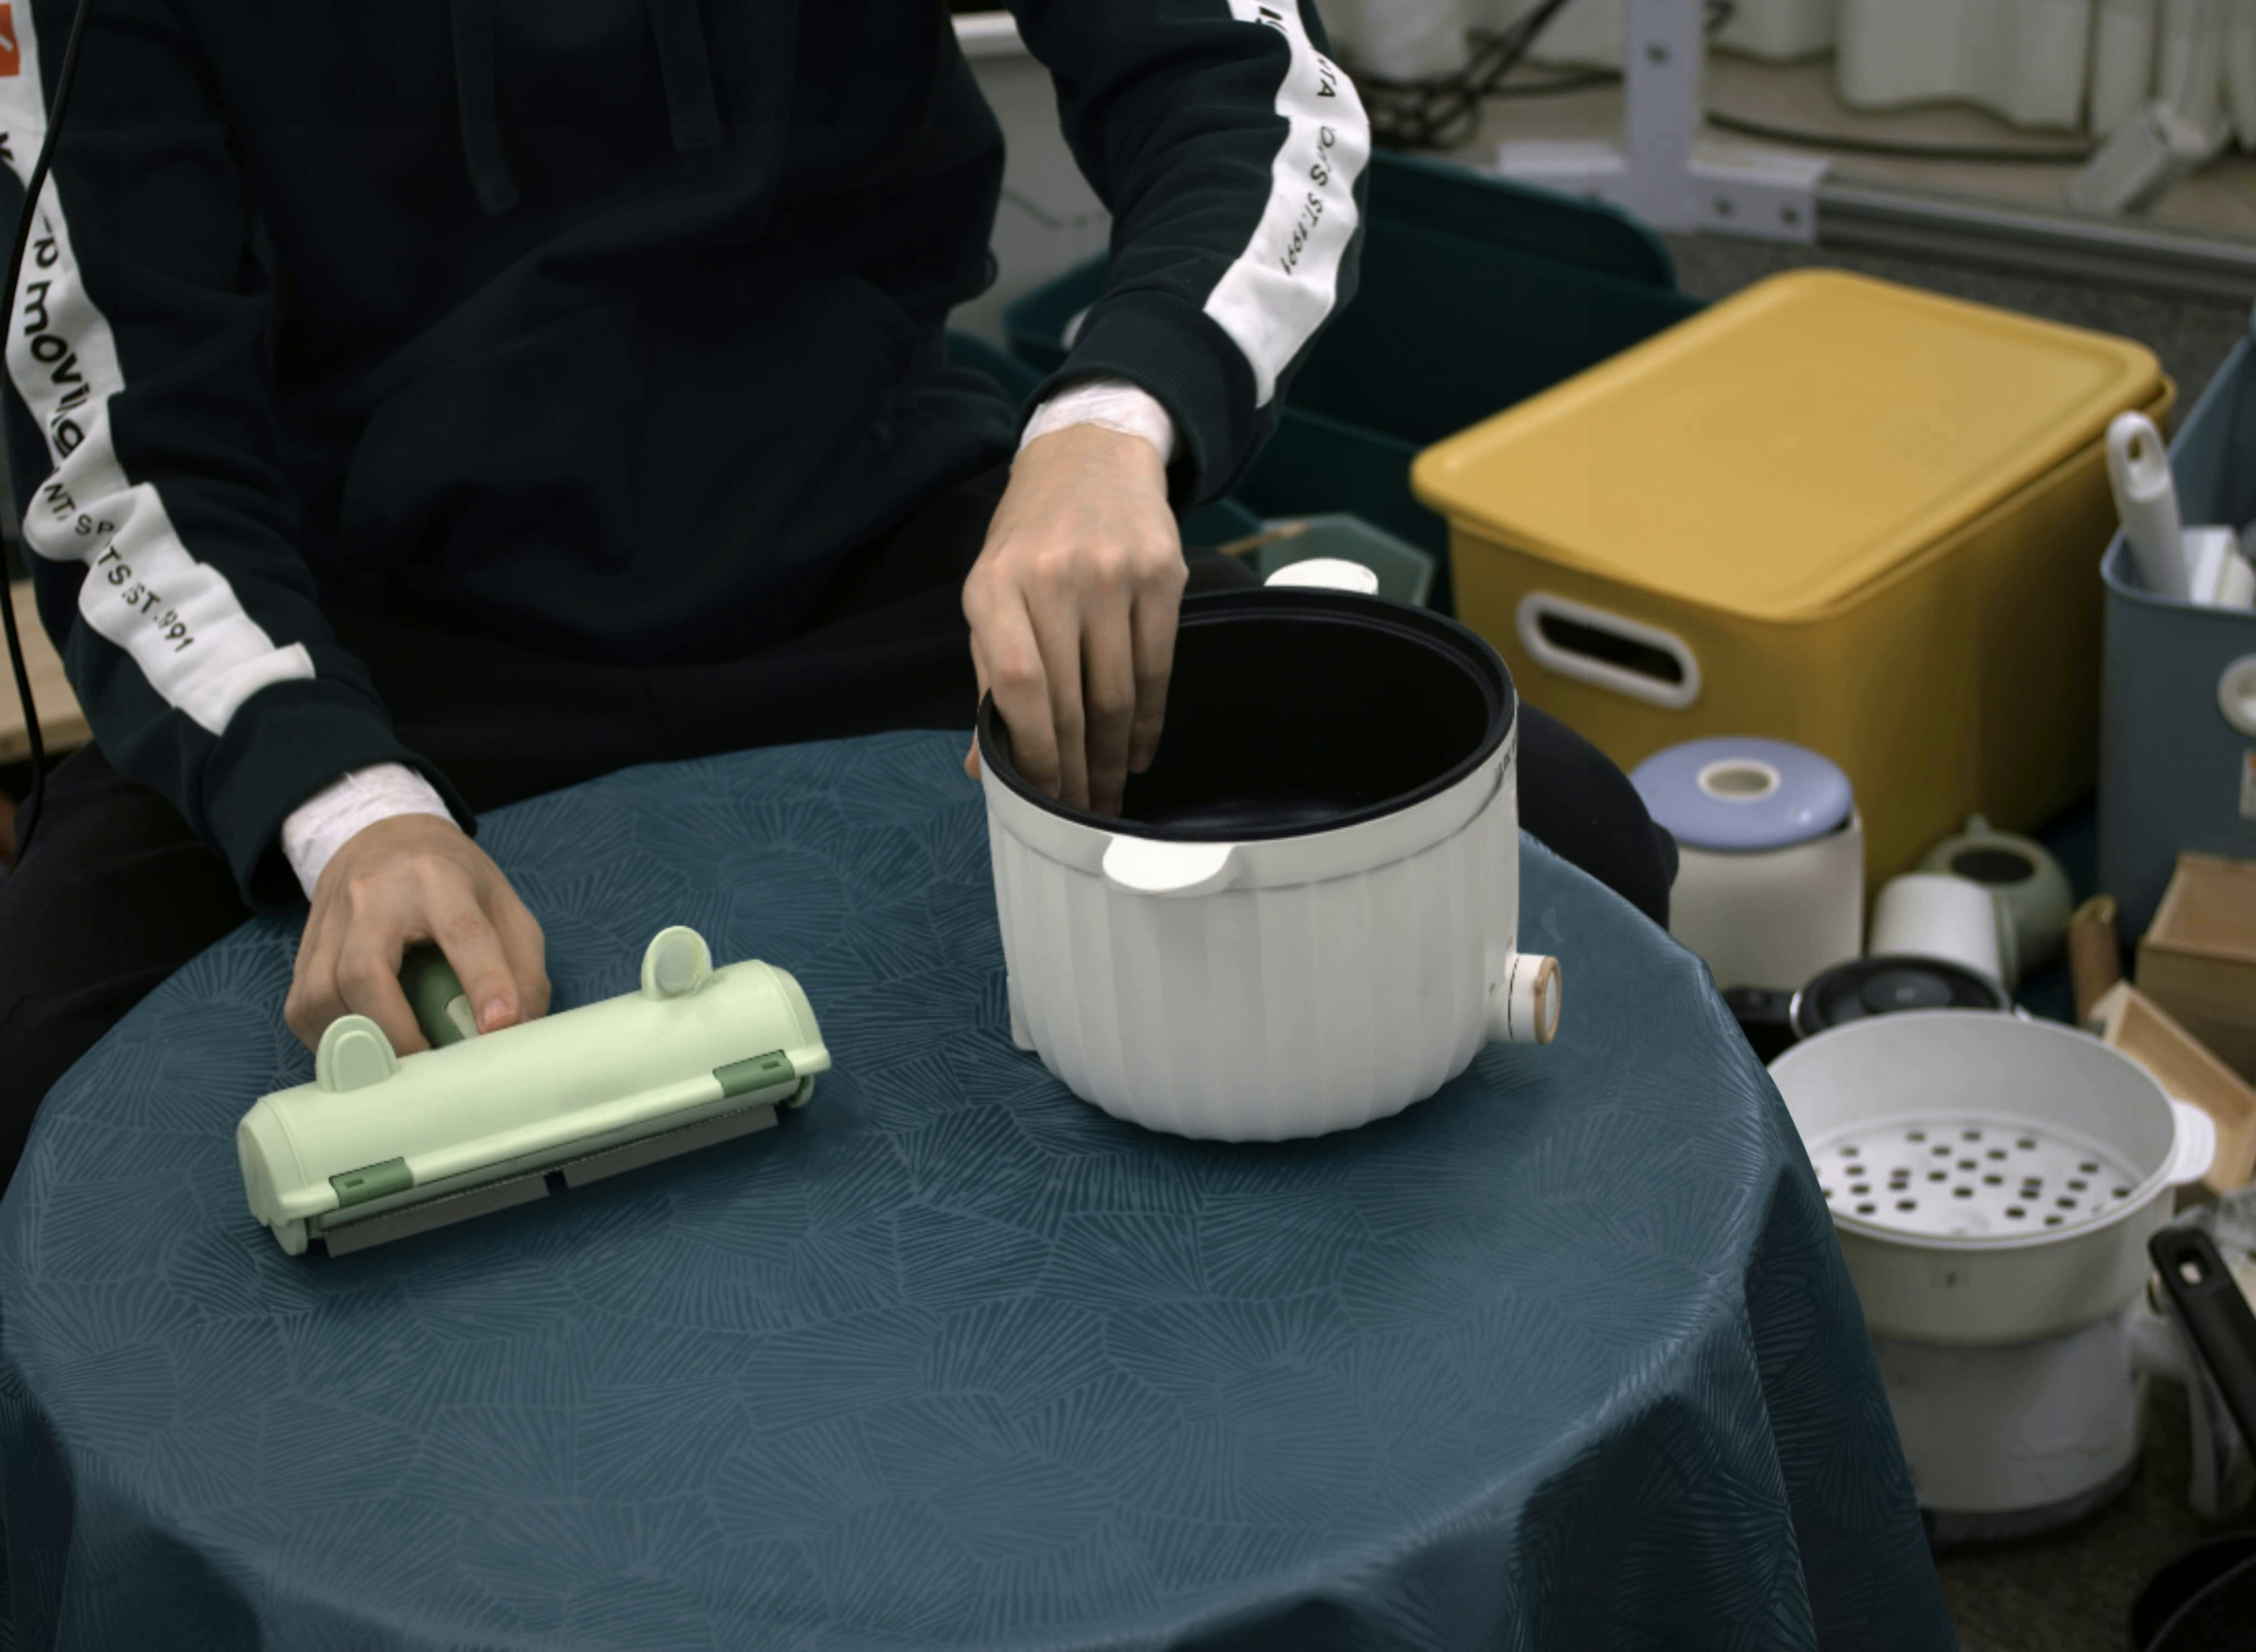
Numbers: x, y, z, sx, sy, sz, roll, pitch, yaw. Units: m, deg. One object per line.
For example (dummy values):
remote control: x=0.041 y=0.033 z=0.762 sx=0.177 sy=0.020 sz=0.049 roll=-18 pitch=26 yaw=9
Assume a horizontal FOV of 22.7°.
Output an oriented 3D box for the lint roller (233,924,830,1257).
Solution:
lint roller: x=-0.223 y=0.062 z=1.916 sx=0.199 sy=0.081 sz=0.185 roll=-15 pitch=35 yaw=-22

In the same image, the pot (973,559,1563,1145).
pot: x=0.049 y=0.017 z=1.906 sx=0.189 sy=0.141 sz=0.245 roll=1 pitch=29 yaw=16
